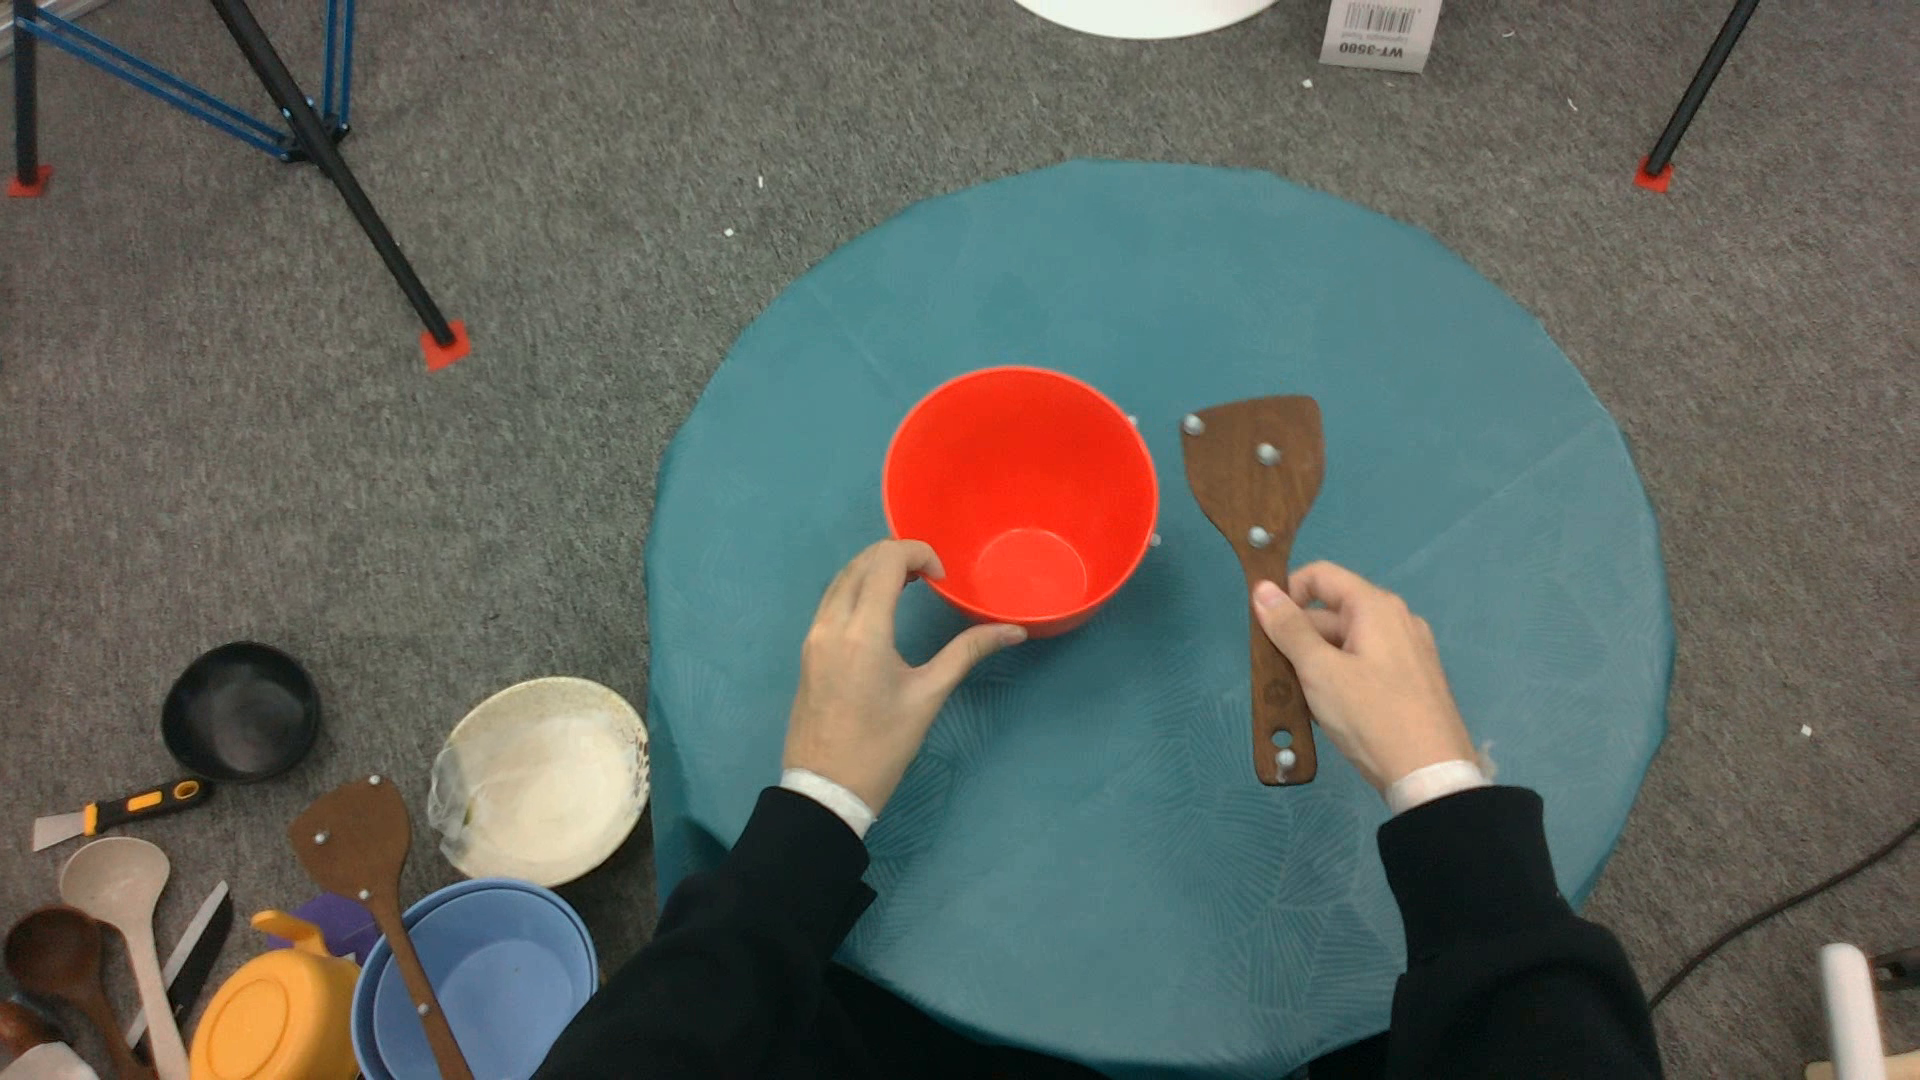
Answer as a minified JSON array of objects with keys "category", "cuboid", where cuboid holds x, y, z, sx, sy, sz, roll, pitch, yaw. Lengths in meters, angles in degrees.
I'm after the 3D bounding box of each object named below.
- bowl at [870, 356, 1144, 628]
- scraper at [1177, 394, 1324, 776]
[{"category":"bowl","cuboid":[0.026,-0.014,0.771,0.148,0.104,0.148,0,63,-1]},{"category":"scraper","cuboid":[0.149,0.017,0.684,0.076,0.011,0.212,-6,58,14]}]
